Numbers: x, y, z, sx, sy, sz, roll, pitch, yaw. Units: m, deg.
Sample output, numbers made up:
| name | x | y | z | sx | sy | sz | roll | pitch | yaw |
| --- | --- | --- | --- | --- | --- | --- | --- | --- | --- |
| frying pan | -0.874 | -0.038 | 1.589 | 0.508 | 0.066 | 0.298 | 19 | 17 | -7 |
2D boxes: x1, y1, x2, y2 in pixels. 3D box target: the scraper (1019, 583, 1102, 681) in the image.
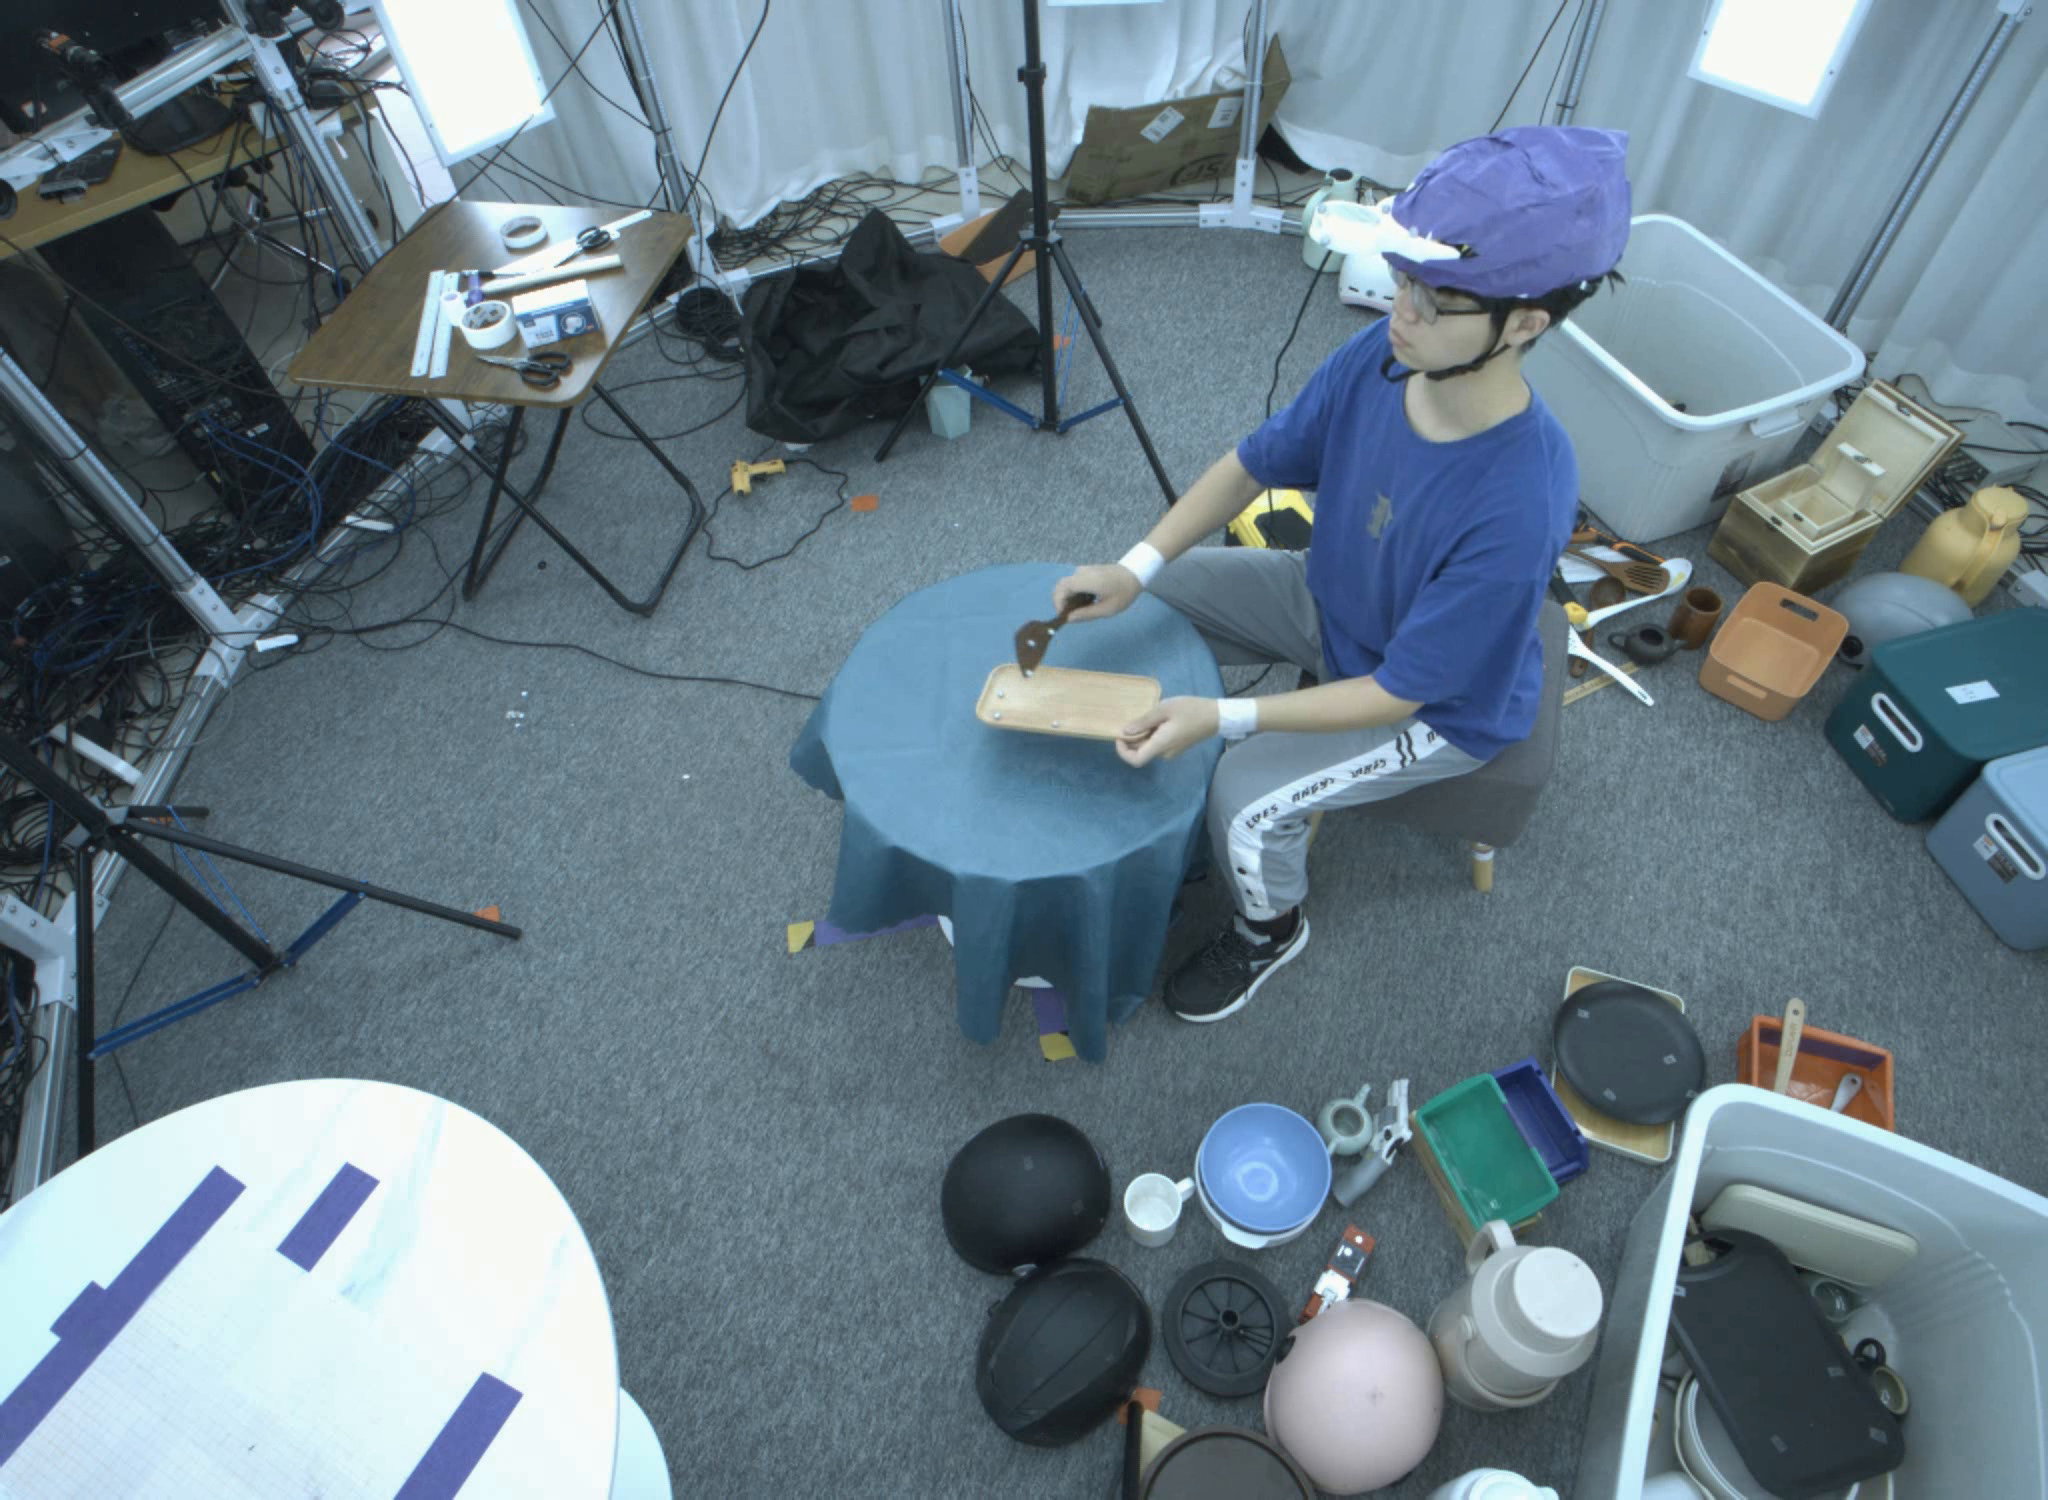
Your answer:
| name | x | y | z | sx | sy | sz | roll | pitch | yaw |
| --- | --- | --- | --- | --- | --- | --- | --- | --- | --- |
| scraper | 0.054 | -0.182 | 1.769 | 0.010 | 0.077 | 0.213 | 13 | 42 | 34 |

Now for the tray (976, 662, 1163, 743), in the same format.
| name | x | y | z | sx | sy | sz | roll | pitch | yaw |
| --- | --- | --- | --- | --- | --- | --- | --- | --- | --- |
| tray | 0.064 | -0.067 | 1.715 | 0.248 | 0.023 | 0.130 | 8 | 49 | 12 |
